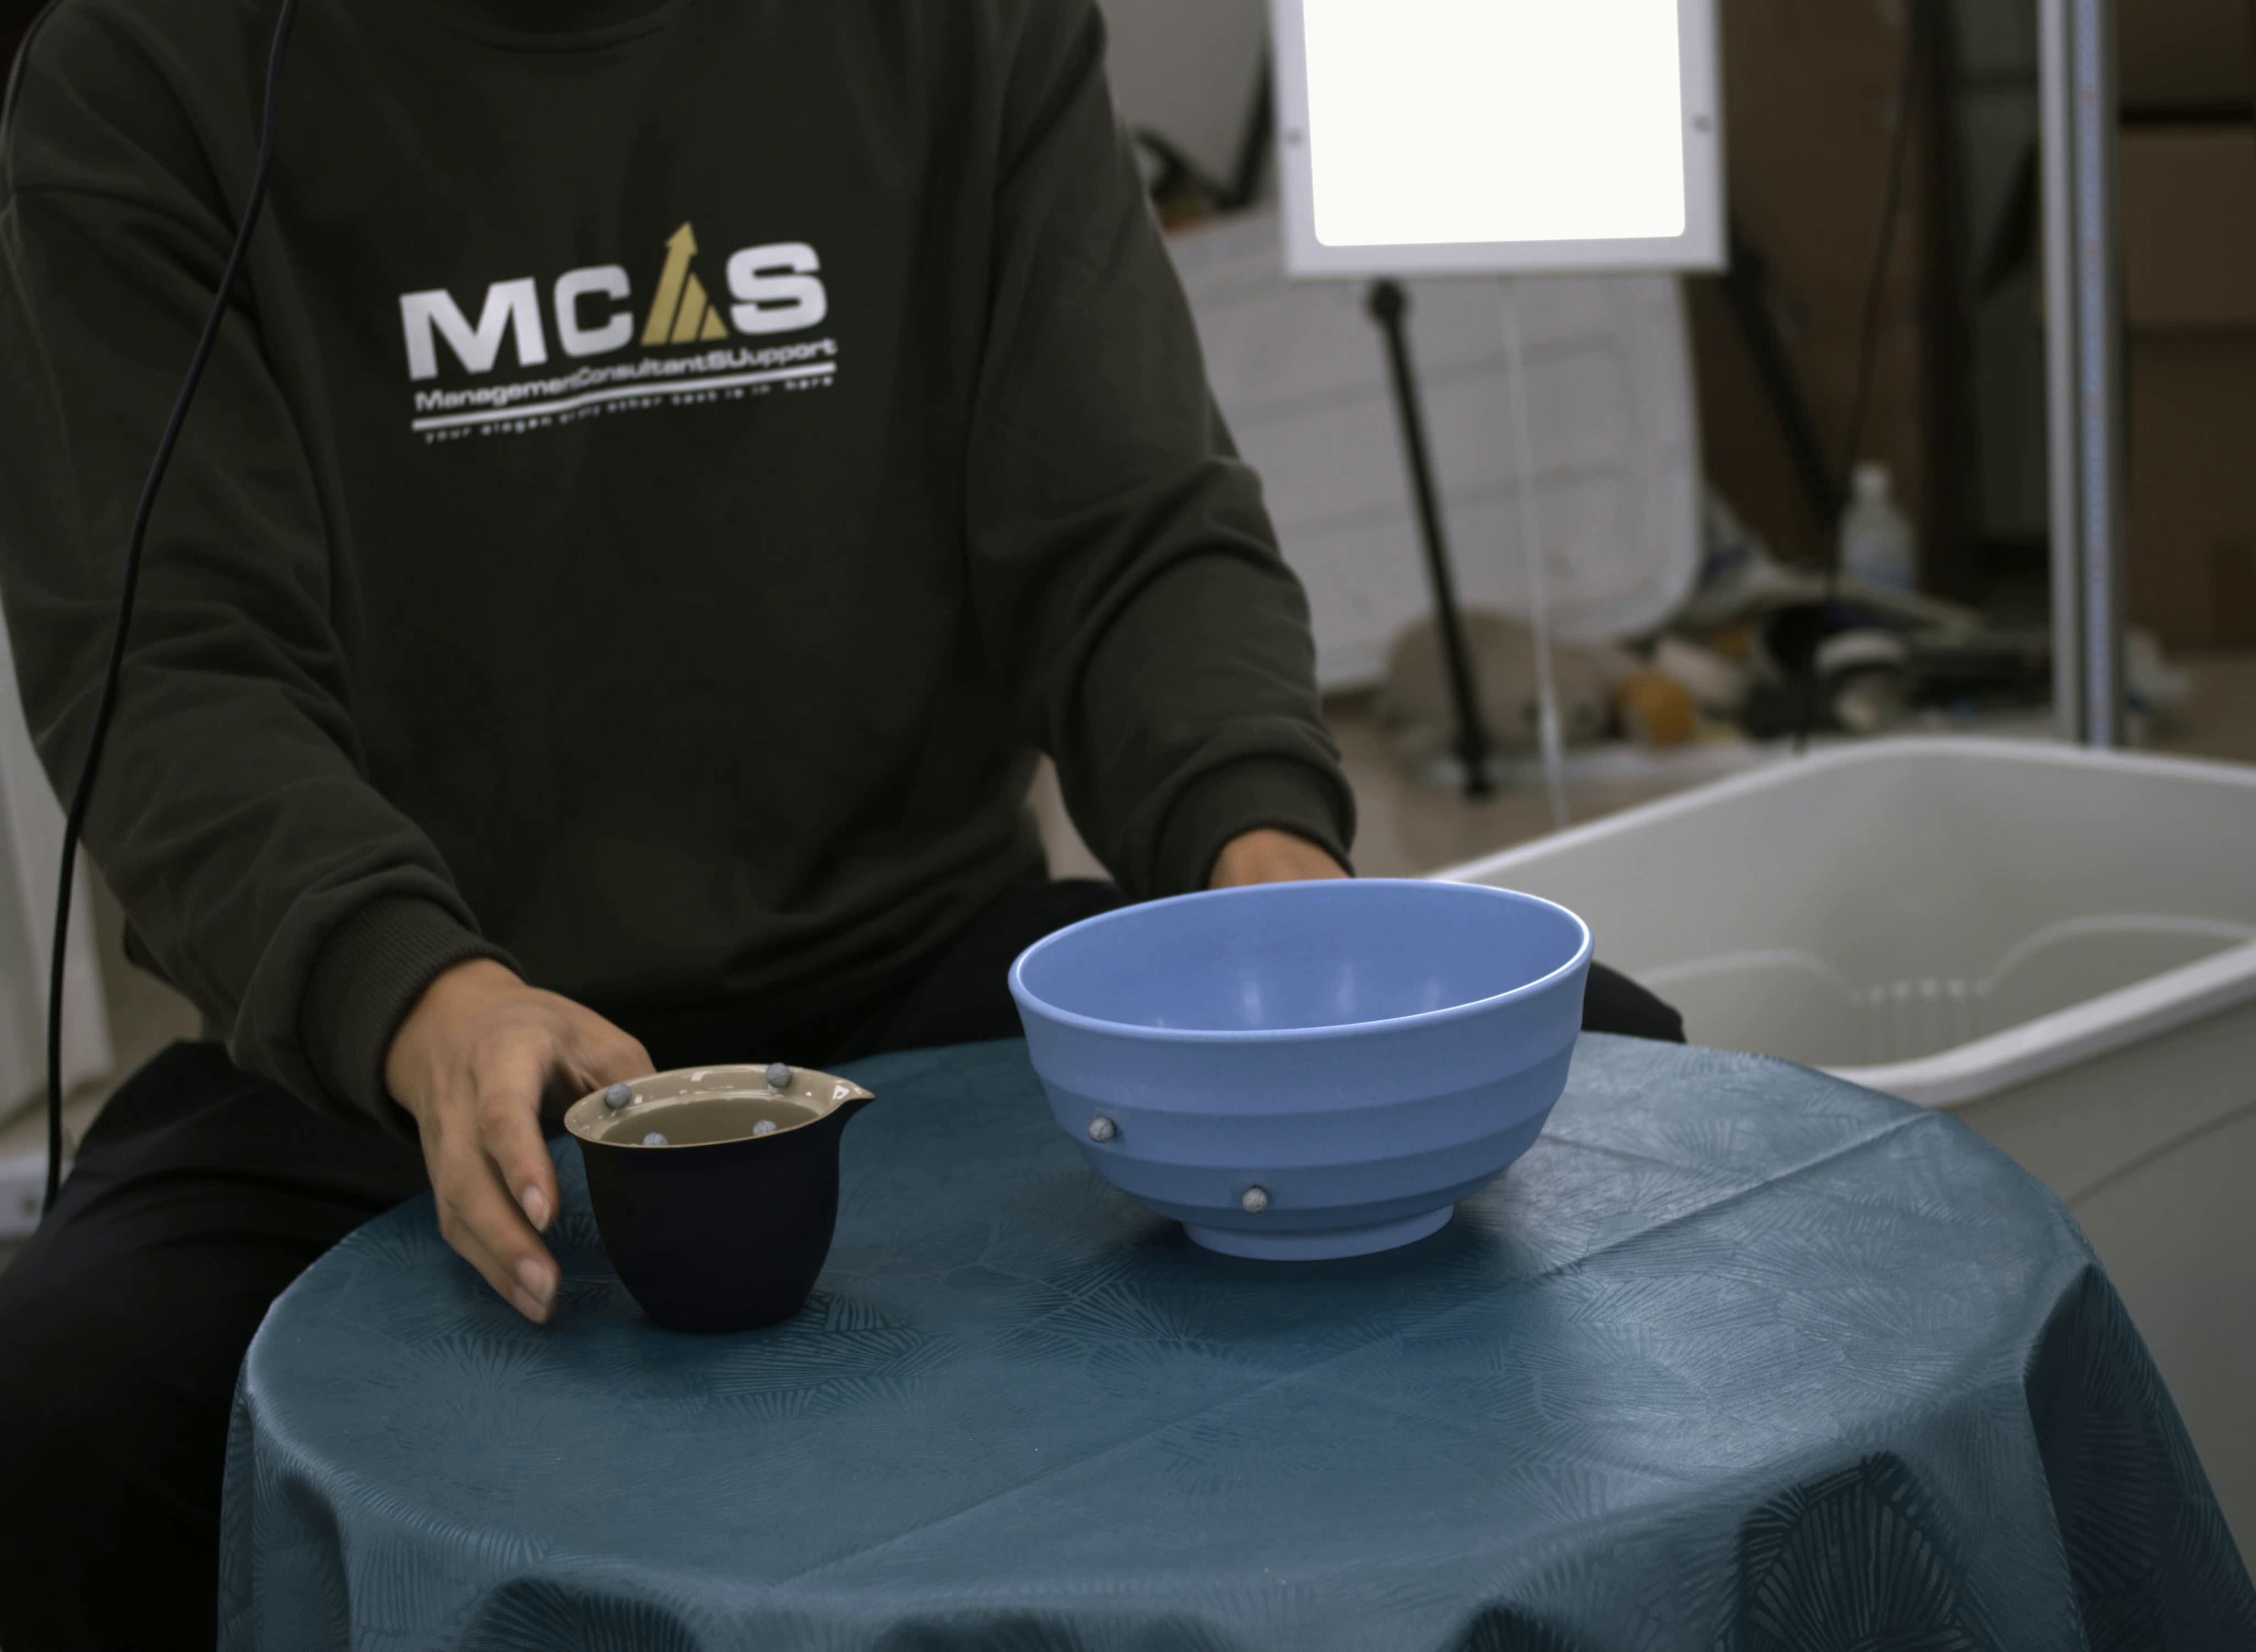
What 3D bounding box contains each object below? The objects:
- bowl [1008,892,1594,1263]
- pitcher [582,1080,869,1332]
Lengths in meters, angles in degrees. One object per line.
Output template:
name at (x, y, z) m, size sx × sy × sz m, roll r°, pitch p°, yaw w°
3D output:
bowl at (0.061, 0.088, 1.842) m, size 0.196 × 0.096 × 0.196 m, roll -5°, pitch 12°, yaw 0°
pitcher at (-0.129, 0.124, 1.804) m, size 0.095 × 0.071 × 0.084 m, roll -7°, pitch 12°, yaw -7°
